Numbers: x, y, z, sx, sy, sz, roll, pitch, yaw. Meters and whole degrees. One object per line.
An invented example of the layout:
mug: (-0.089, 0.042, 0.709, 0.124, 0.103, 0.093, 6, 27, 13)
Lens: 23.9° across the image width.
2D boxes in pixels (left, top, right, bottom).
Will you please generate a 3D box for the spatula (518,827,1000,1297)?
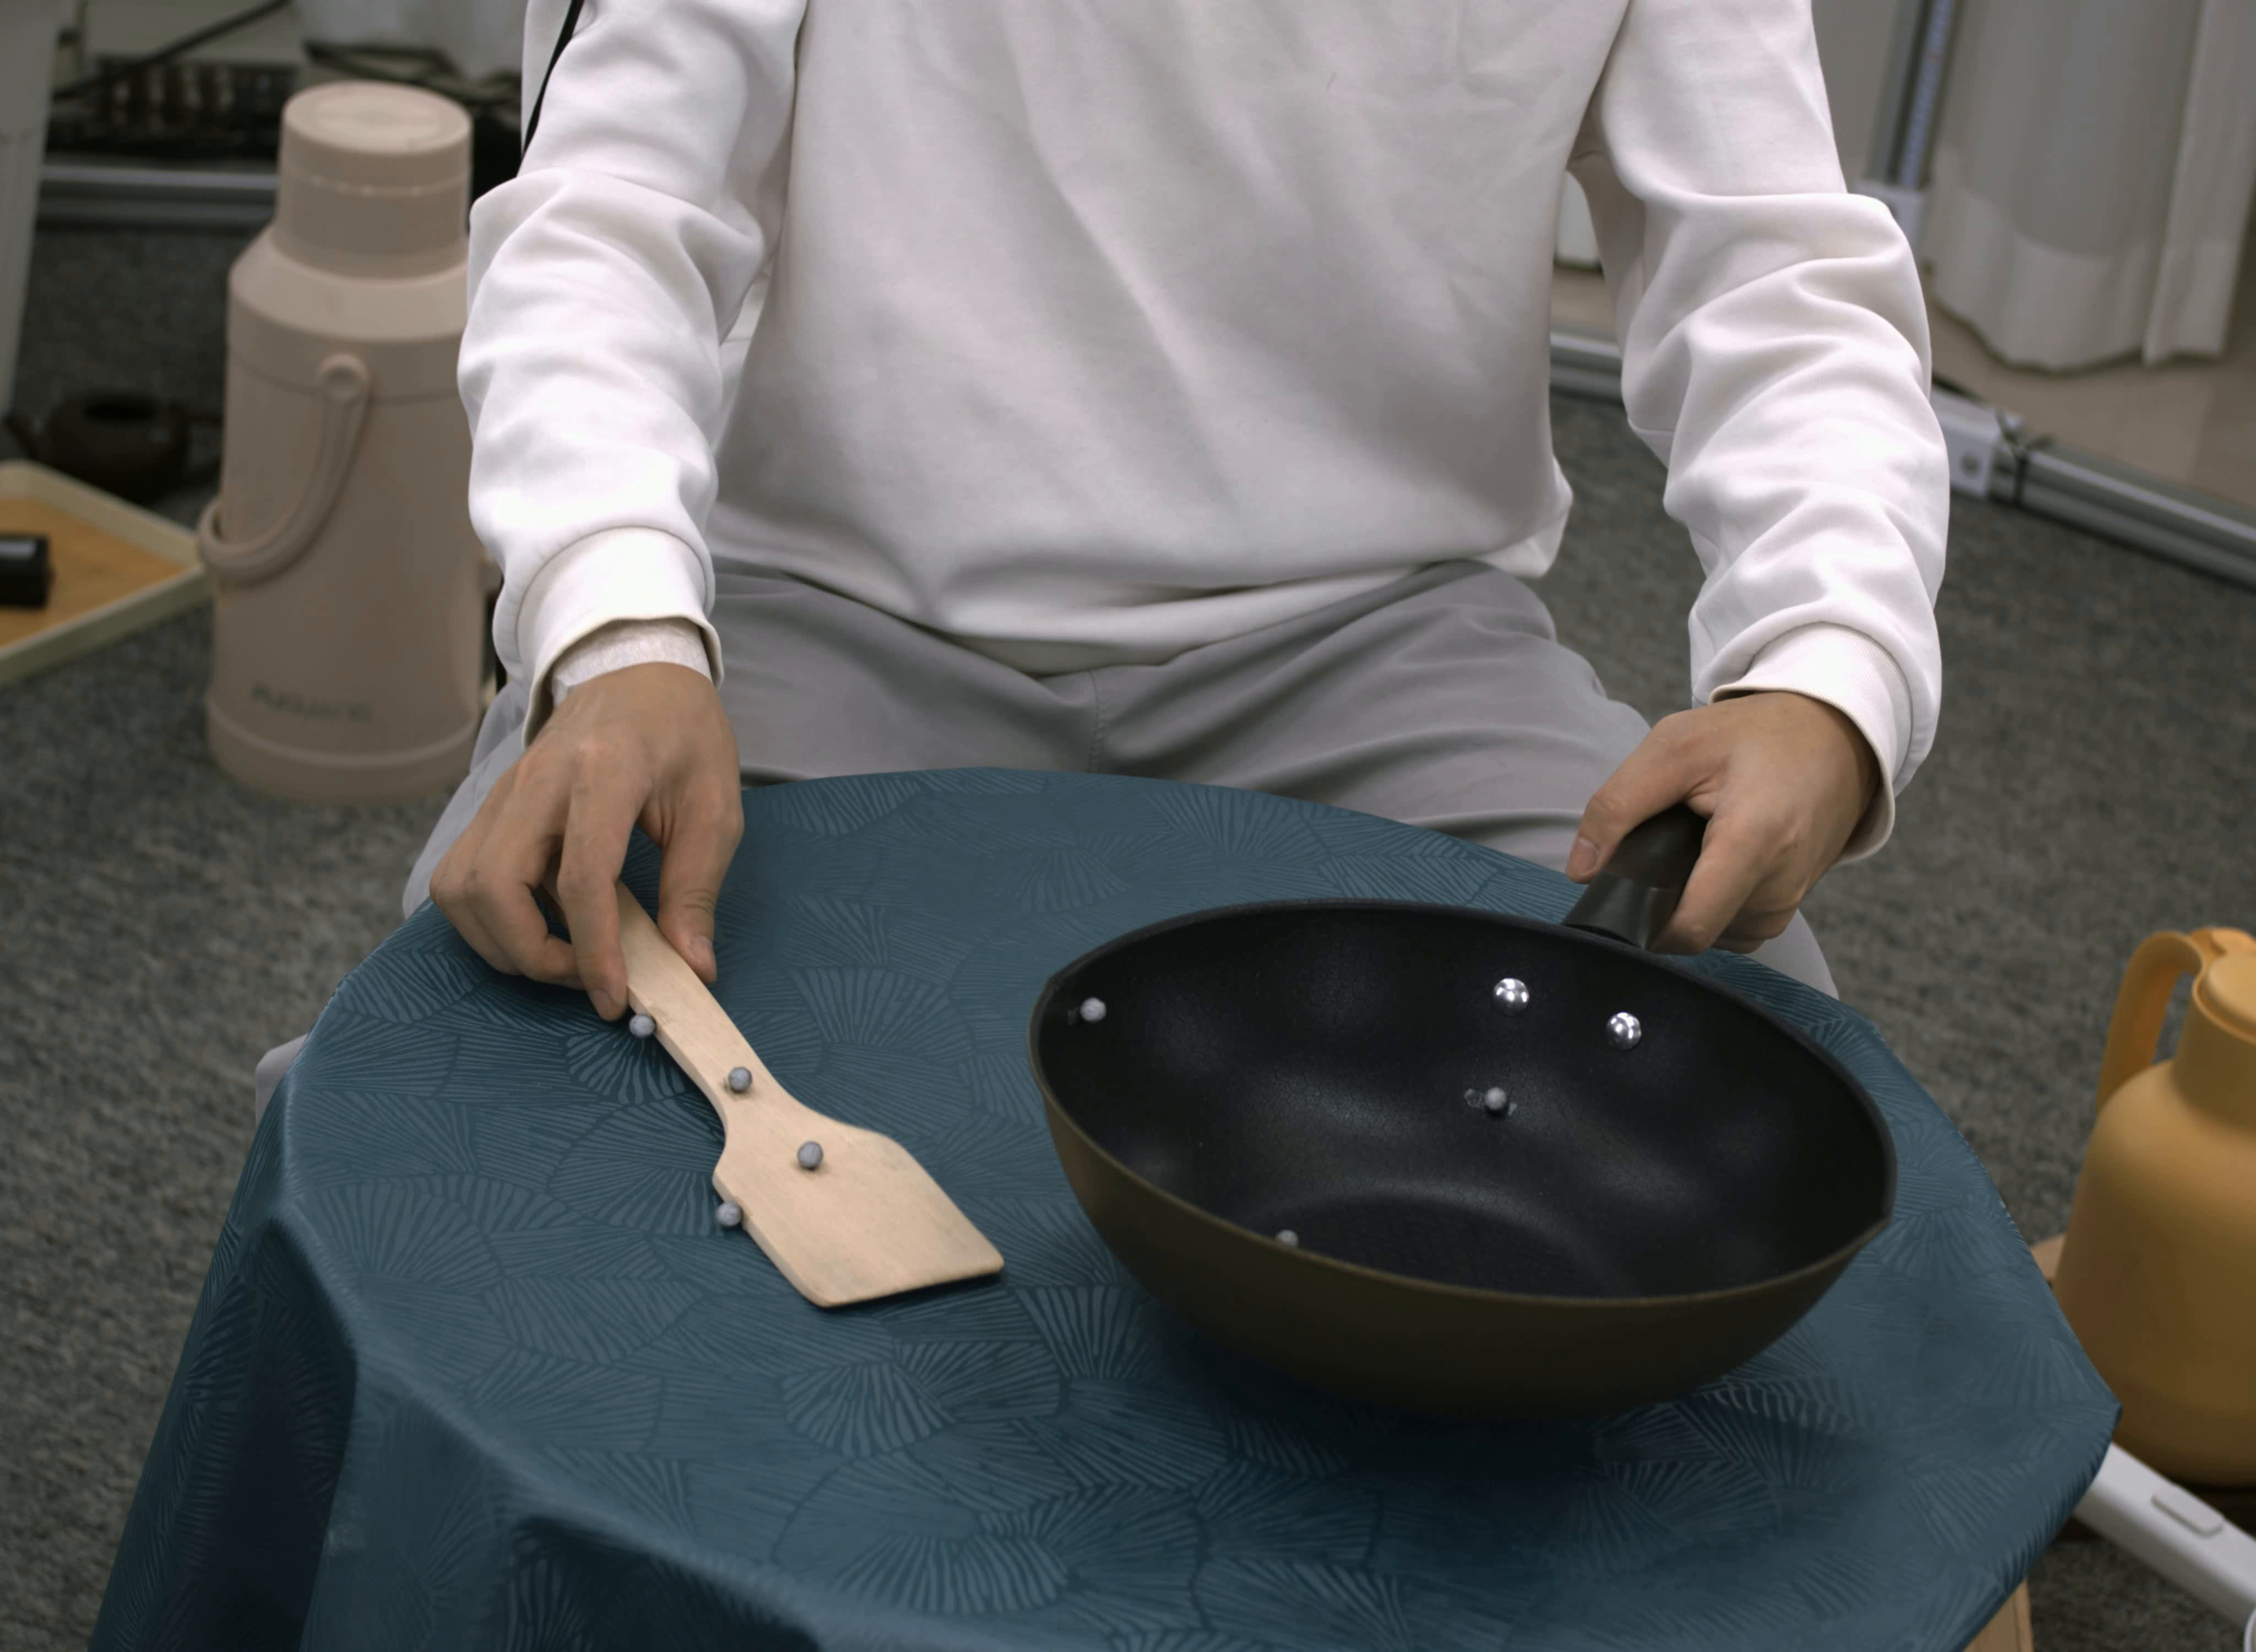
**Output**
spatula: (-0.142, 0.076, 1.837, 0.072, 0.010, 0.296, -12, 36, -27)

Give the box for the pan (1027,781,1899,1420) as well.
pan: (0.136, 0.088, 1.800, 0.289, 0.086, 0.463, 16, 24, 17)
